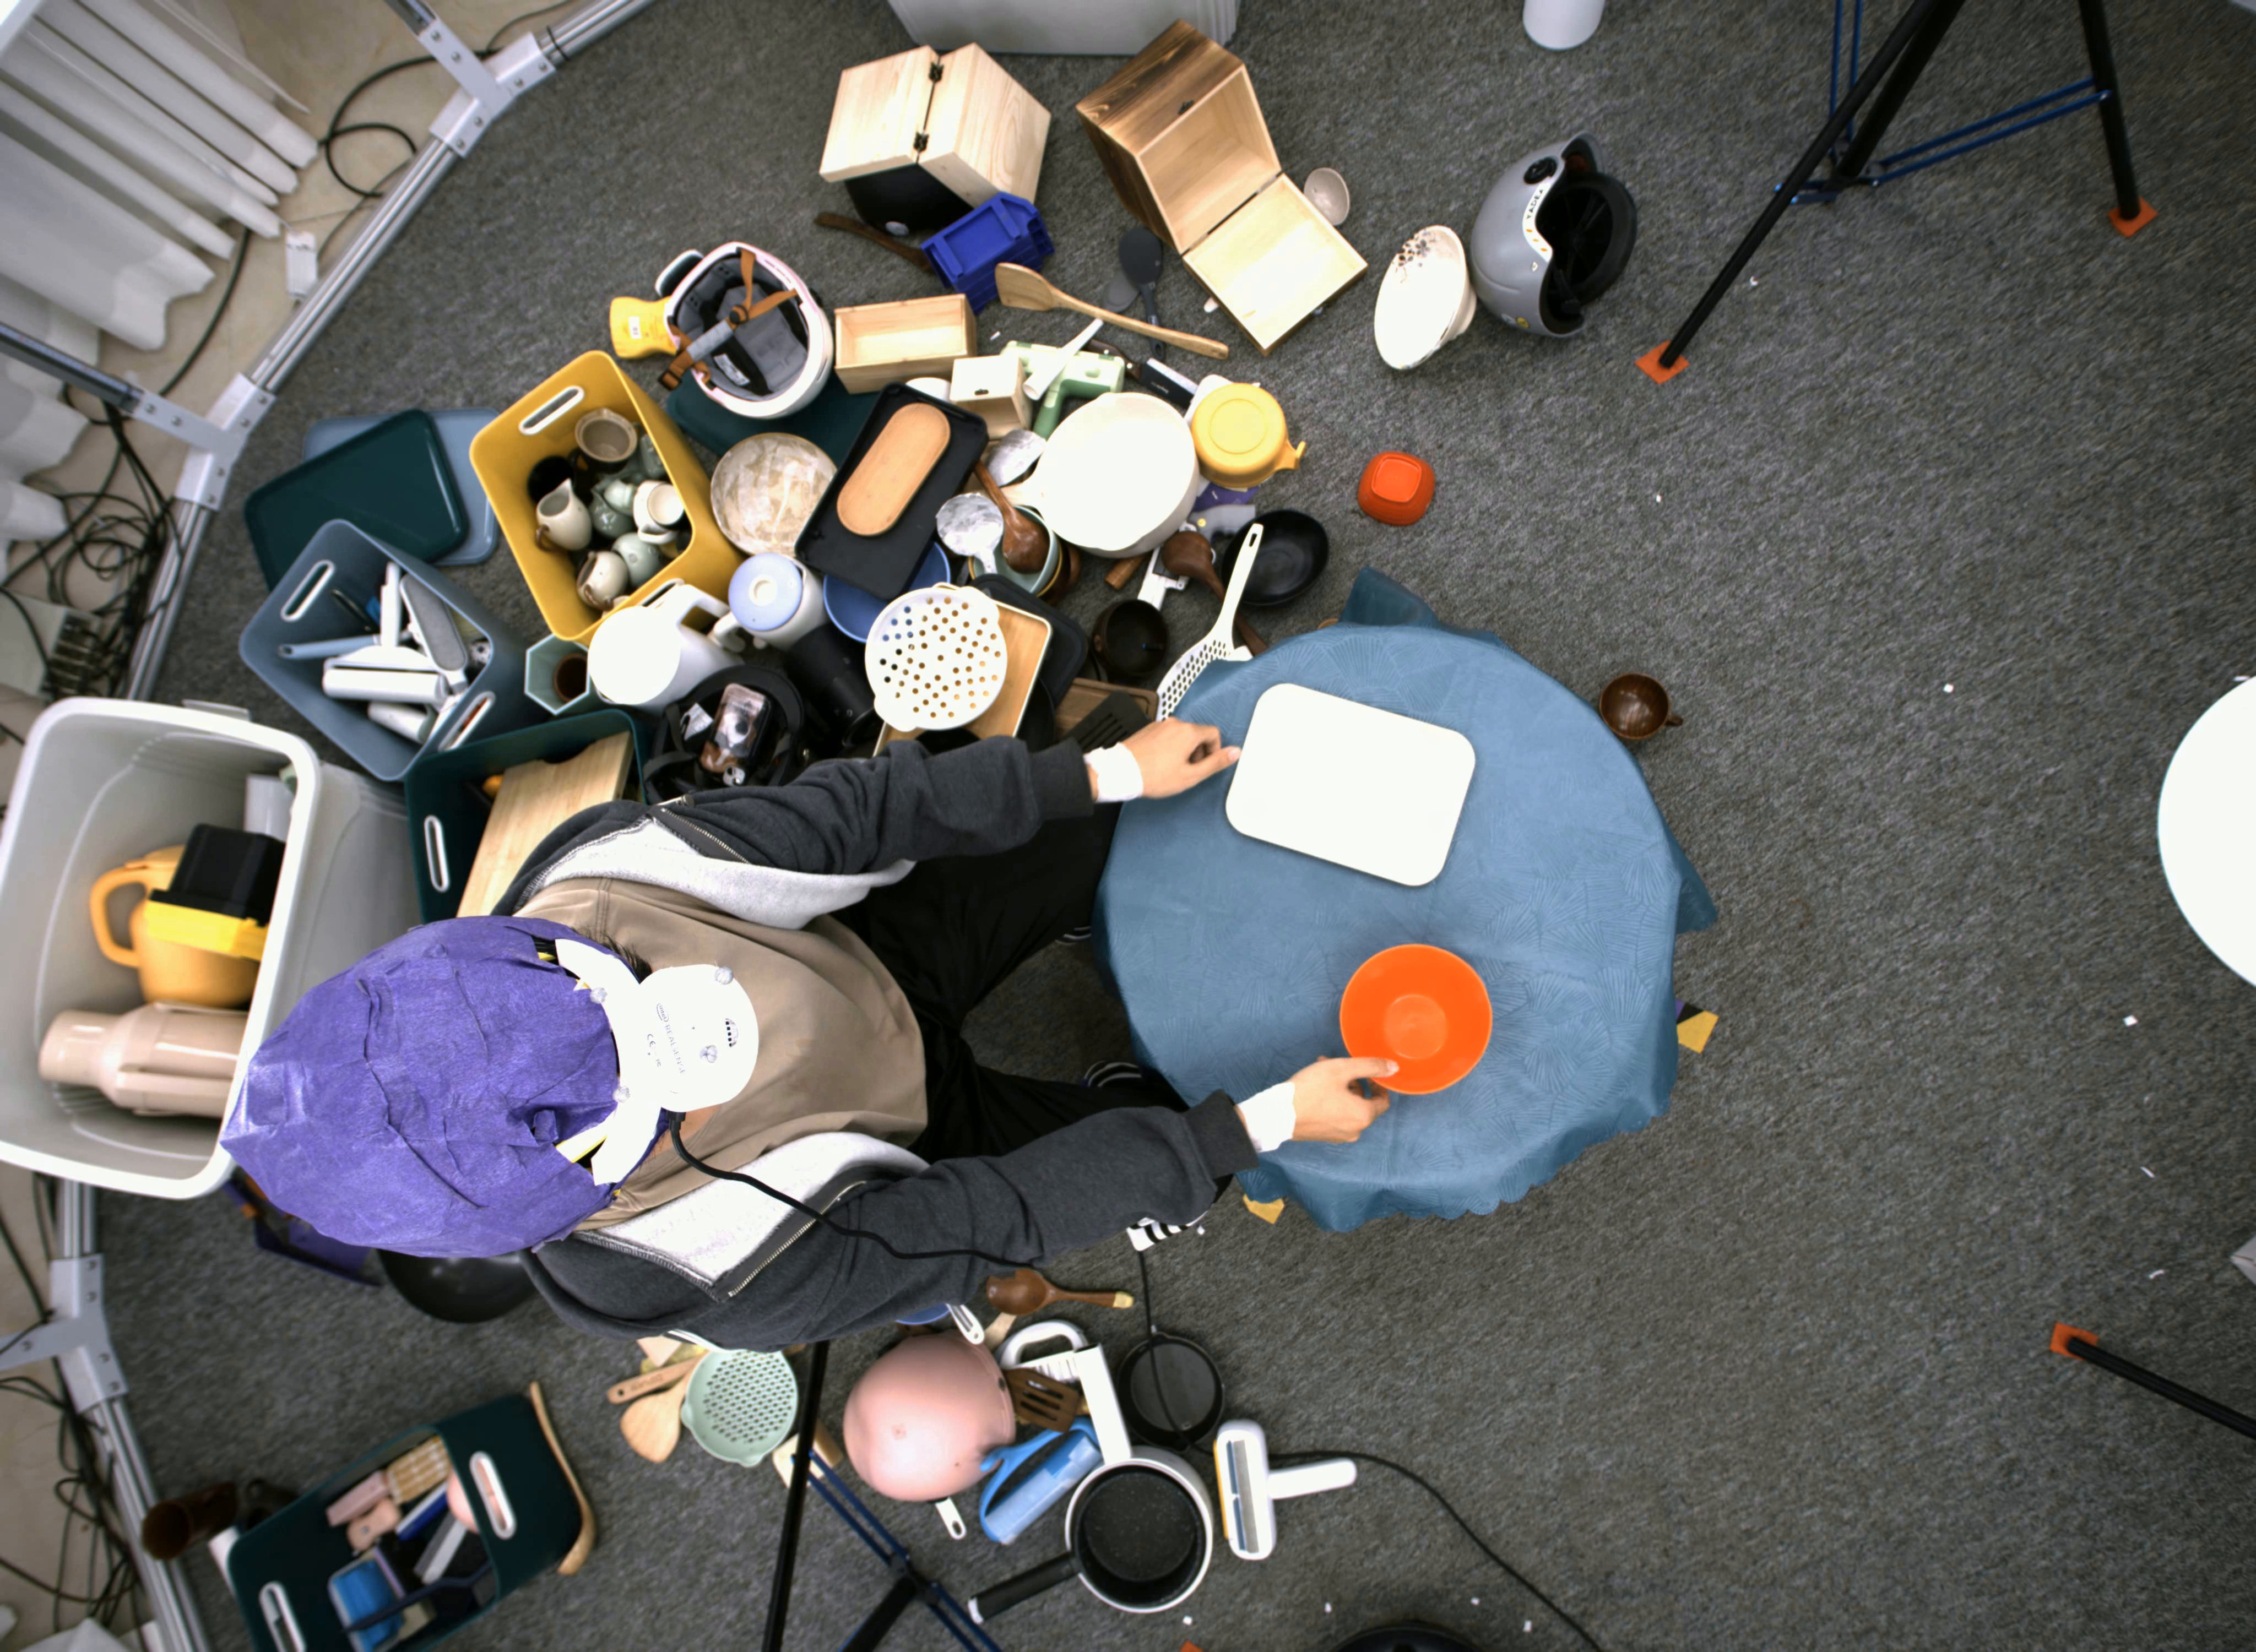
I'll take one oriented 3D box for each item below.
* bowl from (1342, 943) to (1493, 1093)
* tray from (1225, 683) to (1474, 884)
[{"bbox_3d":[0.290,0.192,1.398,0.148,0.105,0.147,-1,85,9],"label":"bowl"},{"bbox_3d":[0.234,-0.047,1.464,0.240,0.017,0.171,17,91,11],"label":"tray"}]
